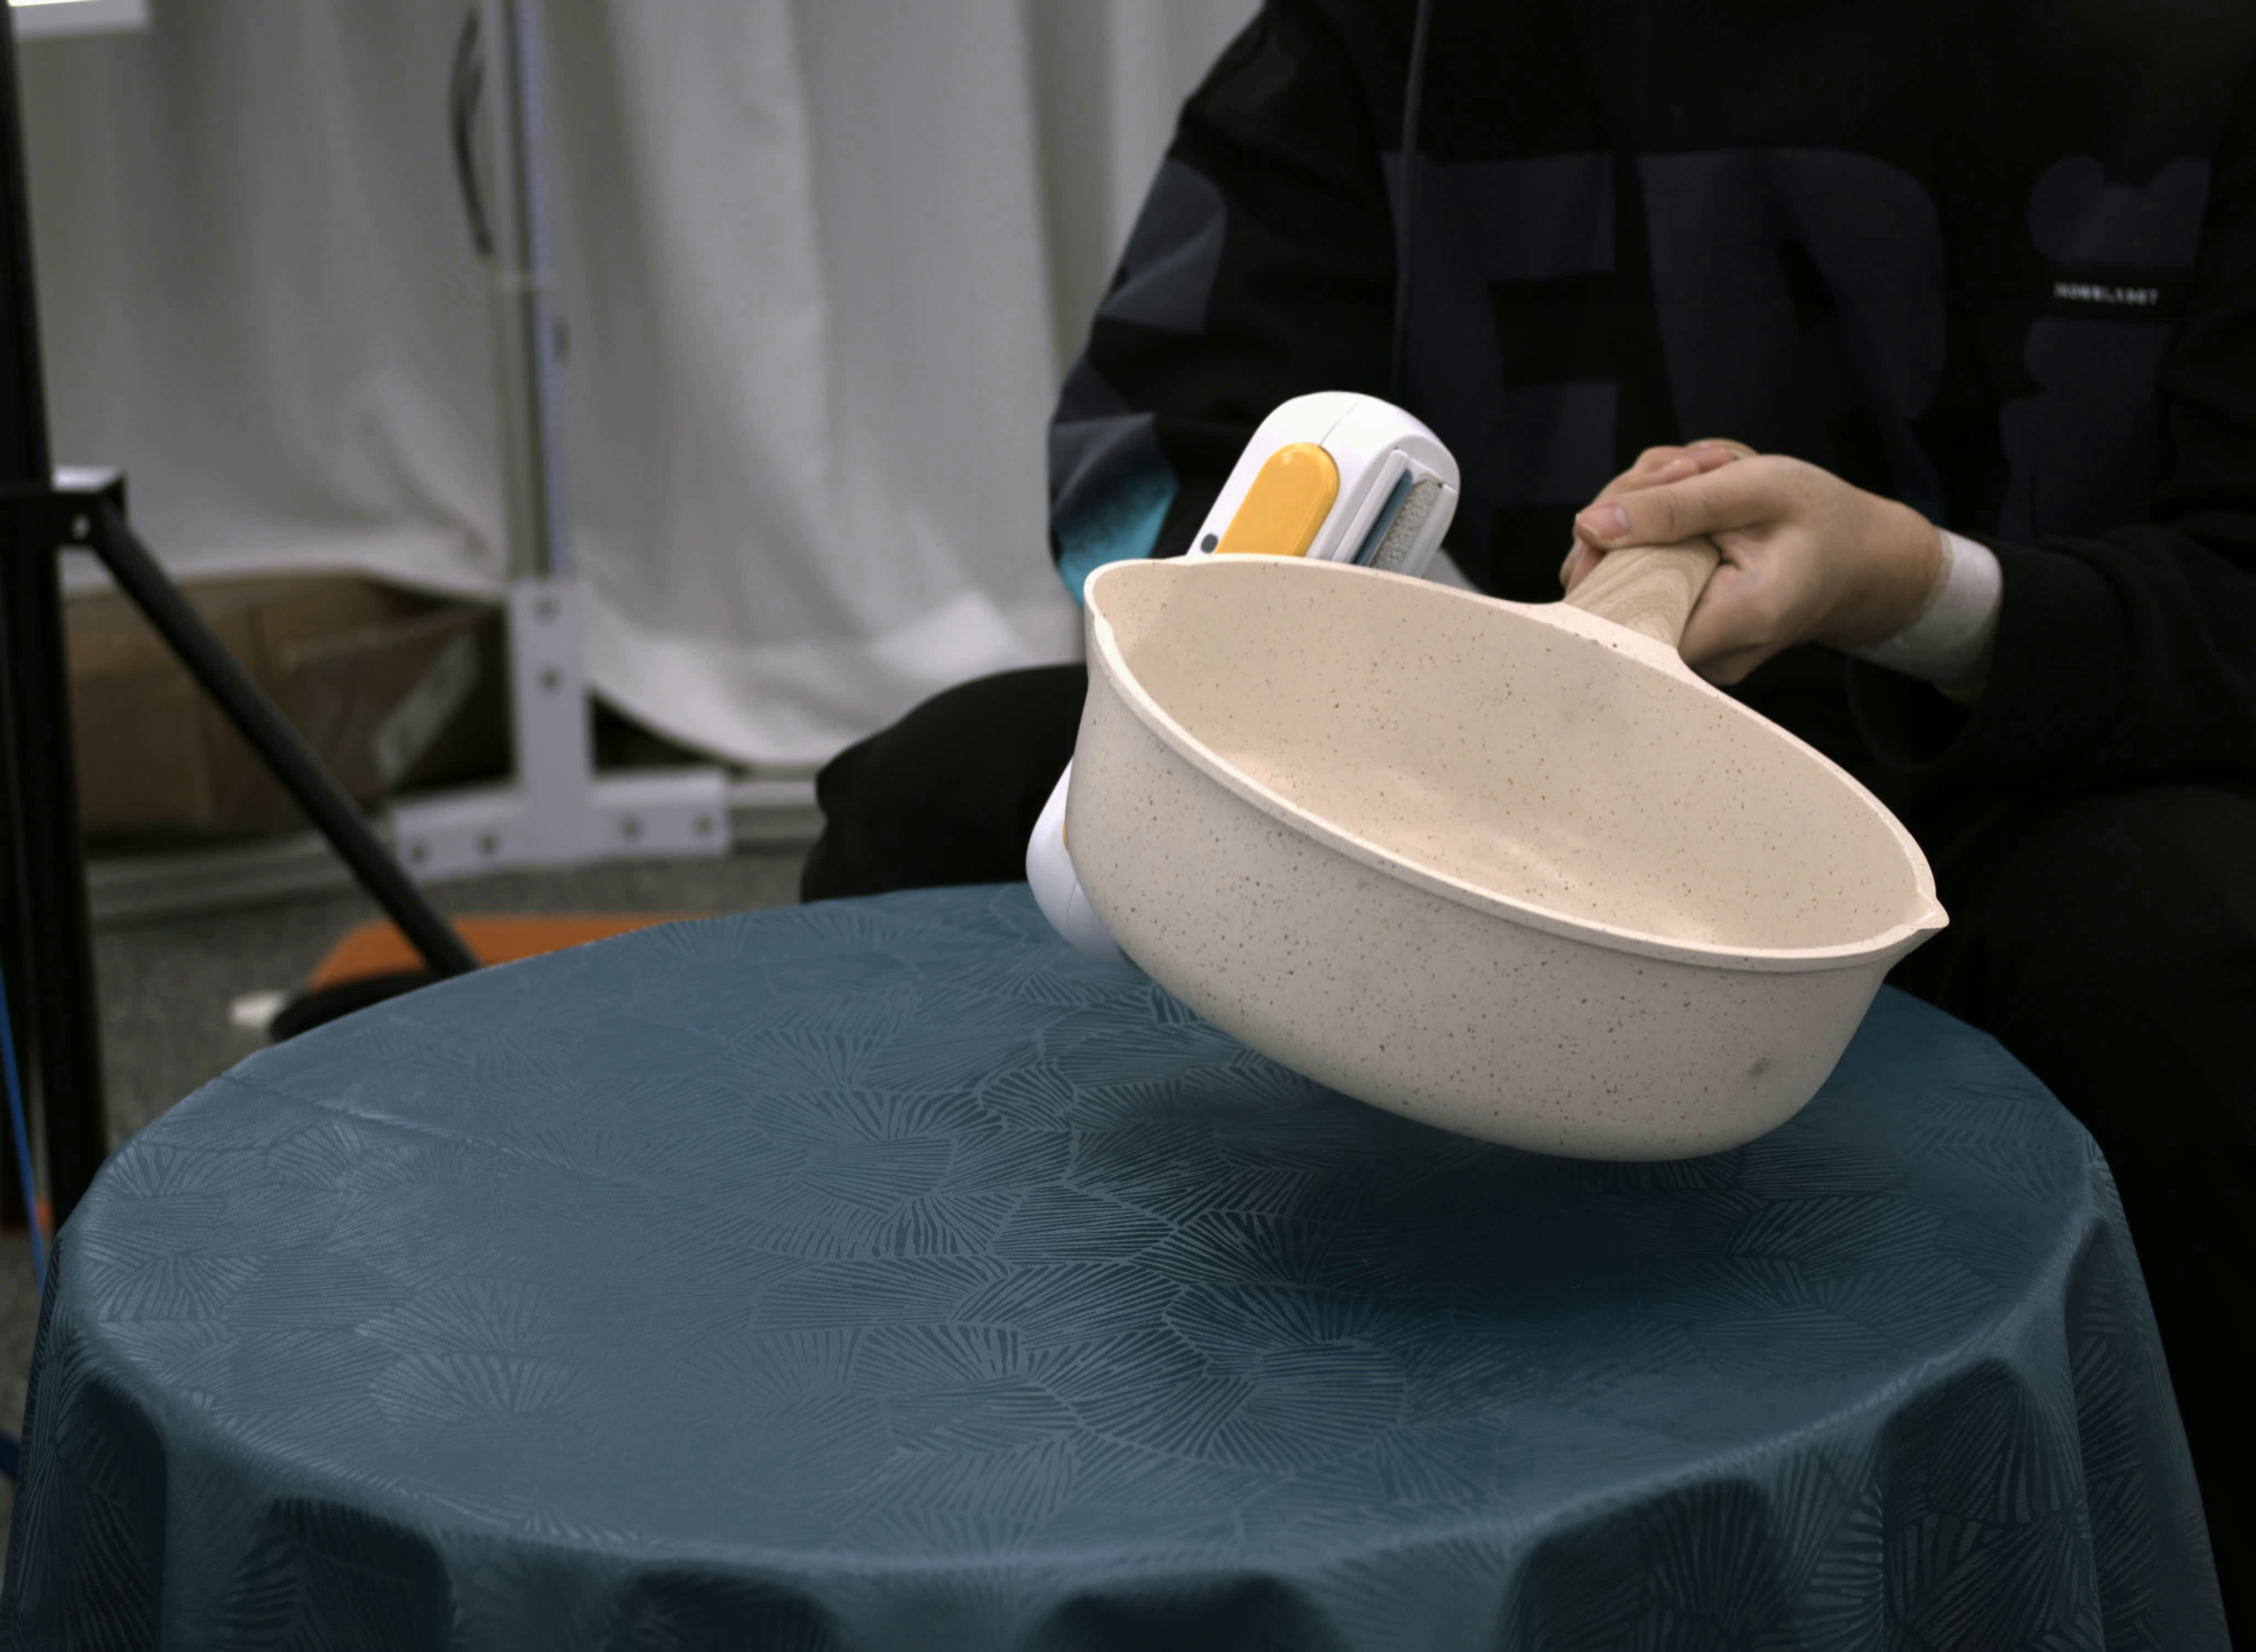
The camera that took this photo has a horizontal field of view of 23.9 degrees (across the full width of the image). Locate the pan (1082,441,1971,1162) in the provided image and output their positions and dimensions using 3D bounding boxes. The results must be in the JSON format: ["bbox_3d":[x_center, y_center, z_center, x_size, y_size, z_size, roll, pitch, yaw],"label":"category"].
[{"bbox_3d":[0.129,-0.019,1.591,0.265,0.102,0.431,19,21,11],"label":"pan"}]

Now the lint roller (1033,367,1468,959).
[{"bbox_3d":[0.051,-0.038,1.688,0.075,0.193,0.188,24,-5,25],"label":"lint roller"}]
